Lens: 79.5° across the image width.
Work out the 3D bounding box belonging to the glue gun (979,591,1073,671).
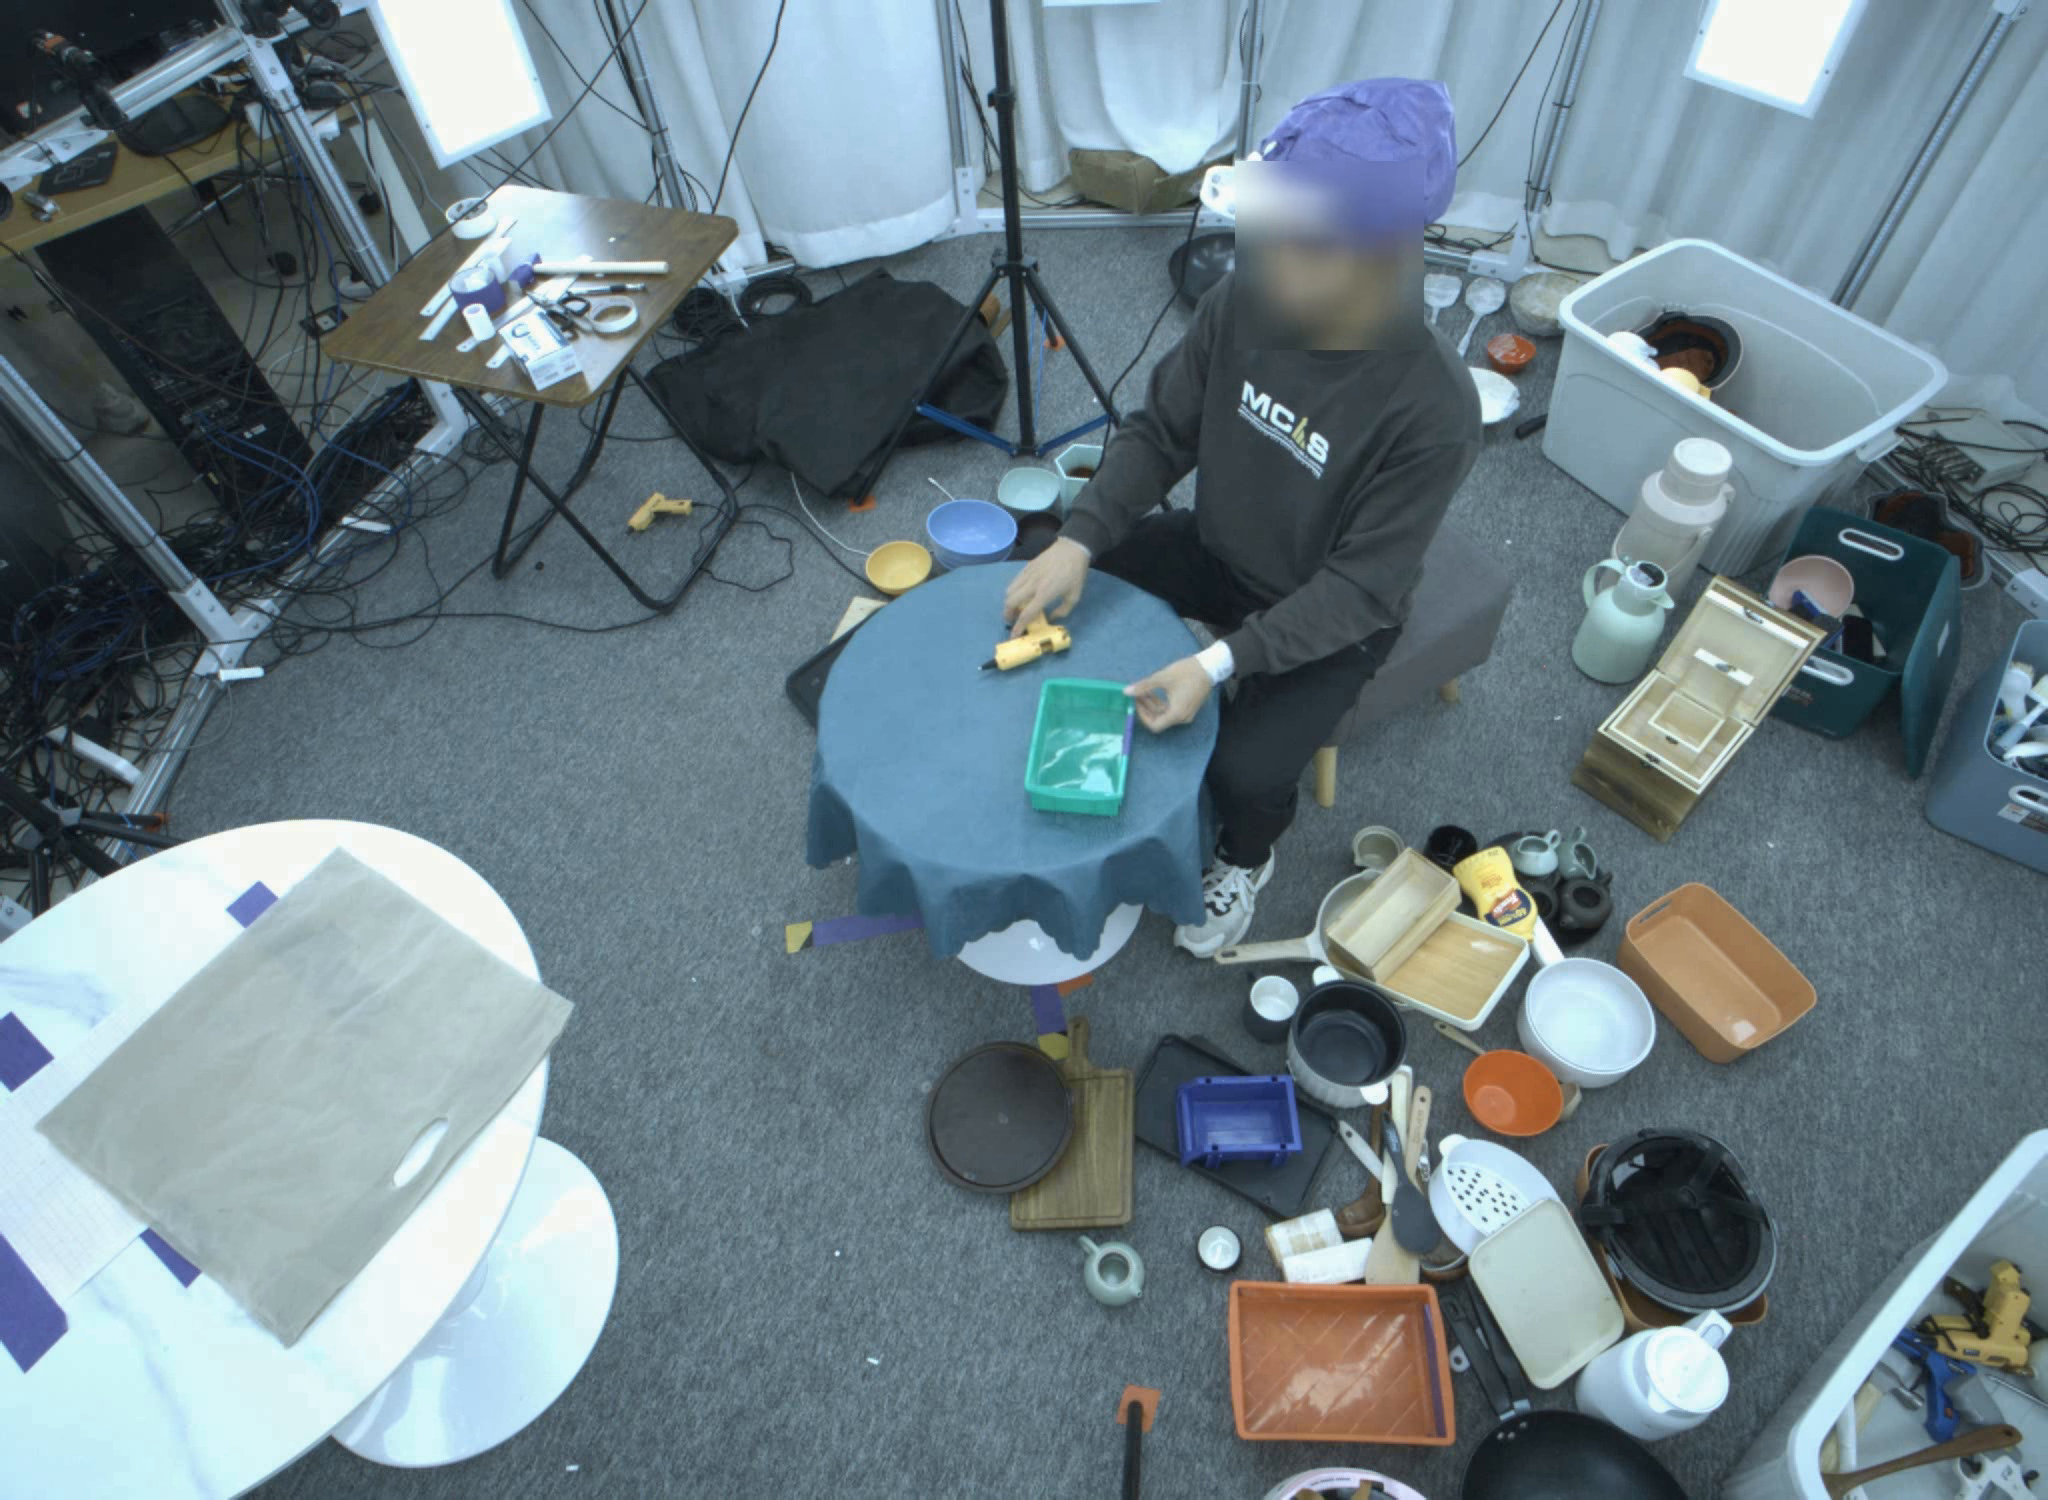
[{"bbox_3d":[-0.017,-0.177,1.899,0.152,0.031,0.130,-24,55,-14],"label":"glue gun"}]

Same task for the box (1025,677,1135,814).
[{"bbox_3d":[0.082,-0.004,1.746,0.138,0.066,0.209,6,53,4],"label":"box"}]
